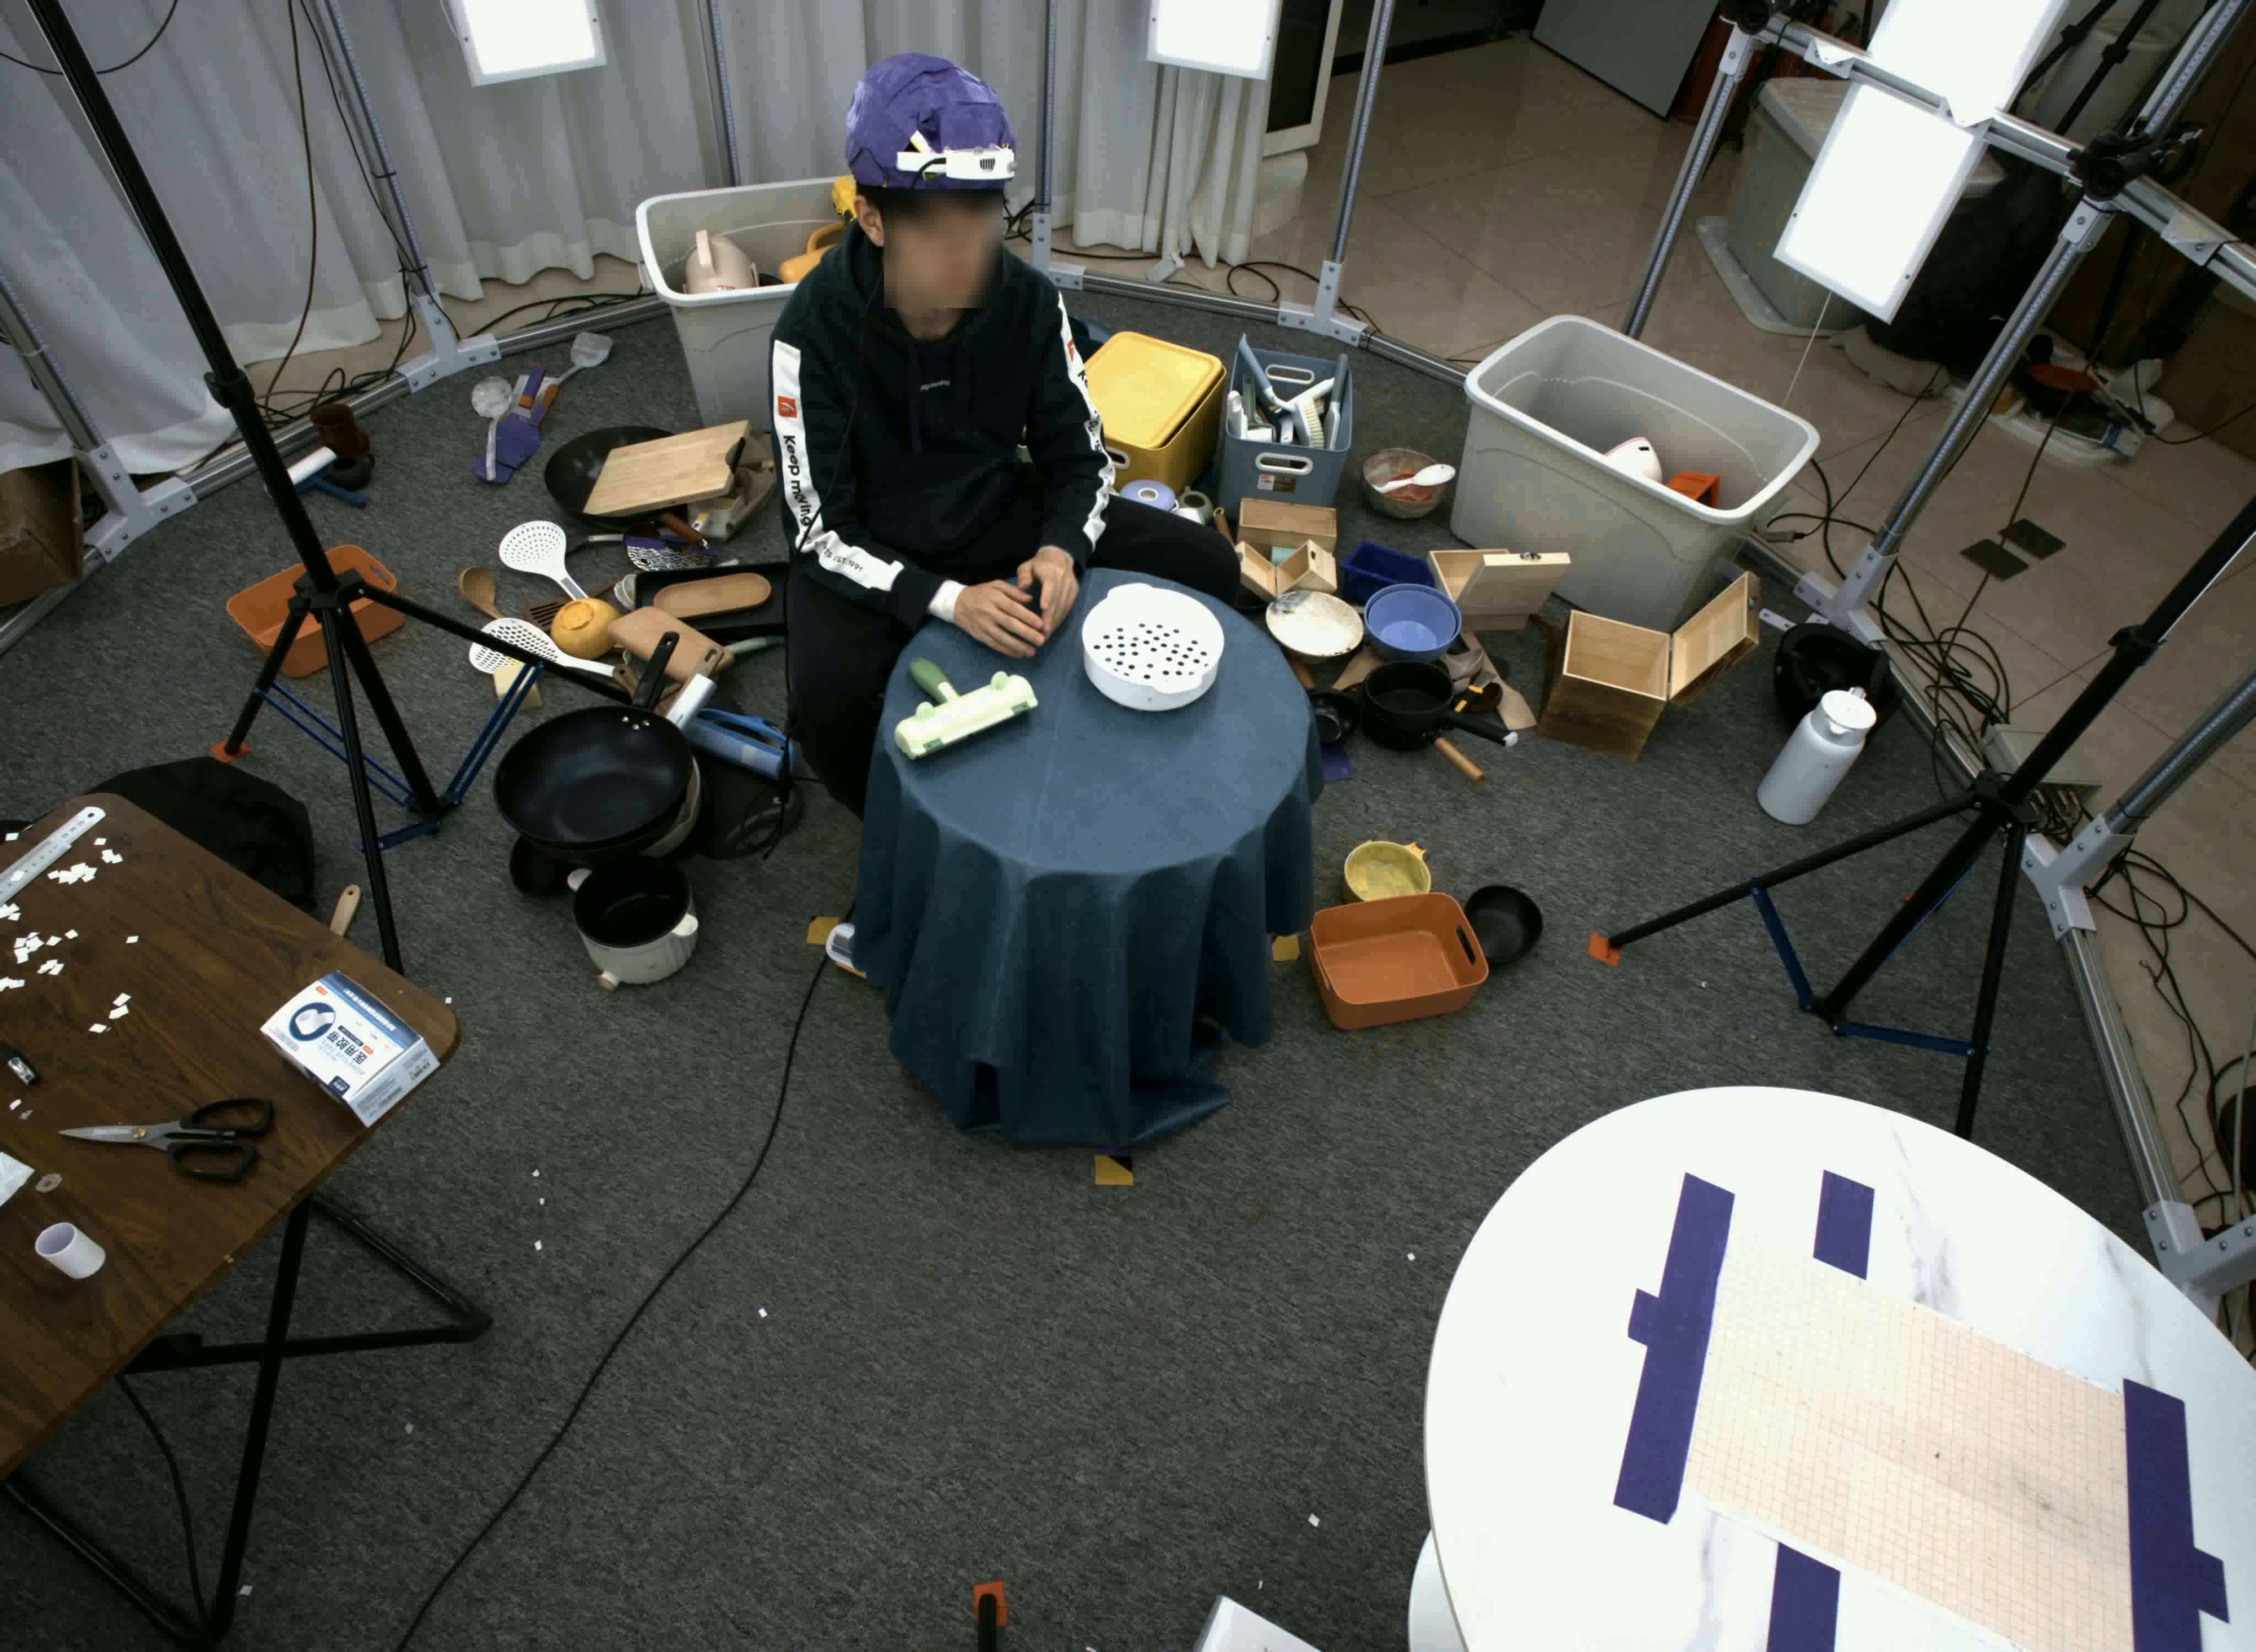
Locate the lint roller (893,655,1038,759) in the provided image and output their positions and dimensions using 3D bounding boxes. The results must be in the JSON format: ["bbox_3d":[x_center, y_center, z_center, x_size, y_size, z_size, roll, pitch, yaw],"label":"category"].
[{"bbox_3d":[-0.250,-0.193,1.769,0.199,0.080,0.187,-25,59,-23],"label":"lint roller"}]

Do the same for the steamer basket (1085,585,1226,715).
[{"bbox_3d":[0.038,-0.248,1.842,0.202,0.067,0.236,-14,53,-15],"label":"steamer basket"}]
